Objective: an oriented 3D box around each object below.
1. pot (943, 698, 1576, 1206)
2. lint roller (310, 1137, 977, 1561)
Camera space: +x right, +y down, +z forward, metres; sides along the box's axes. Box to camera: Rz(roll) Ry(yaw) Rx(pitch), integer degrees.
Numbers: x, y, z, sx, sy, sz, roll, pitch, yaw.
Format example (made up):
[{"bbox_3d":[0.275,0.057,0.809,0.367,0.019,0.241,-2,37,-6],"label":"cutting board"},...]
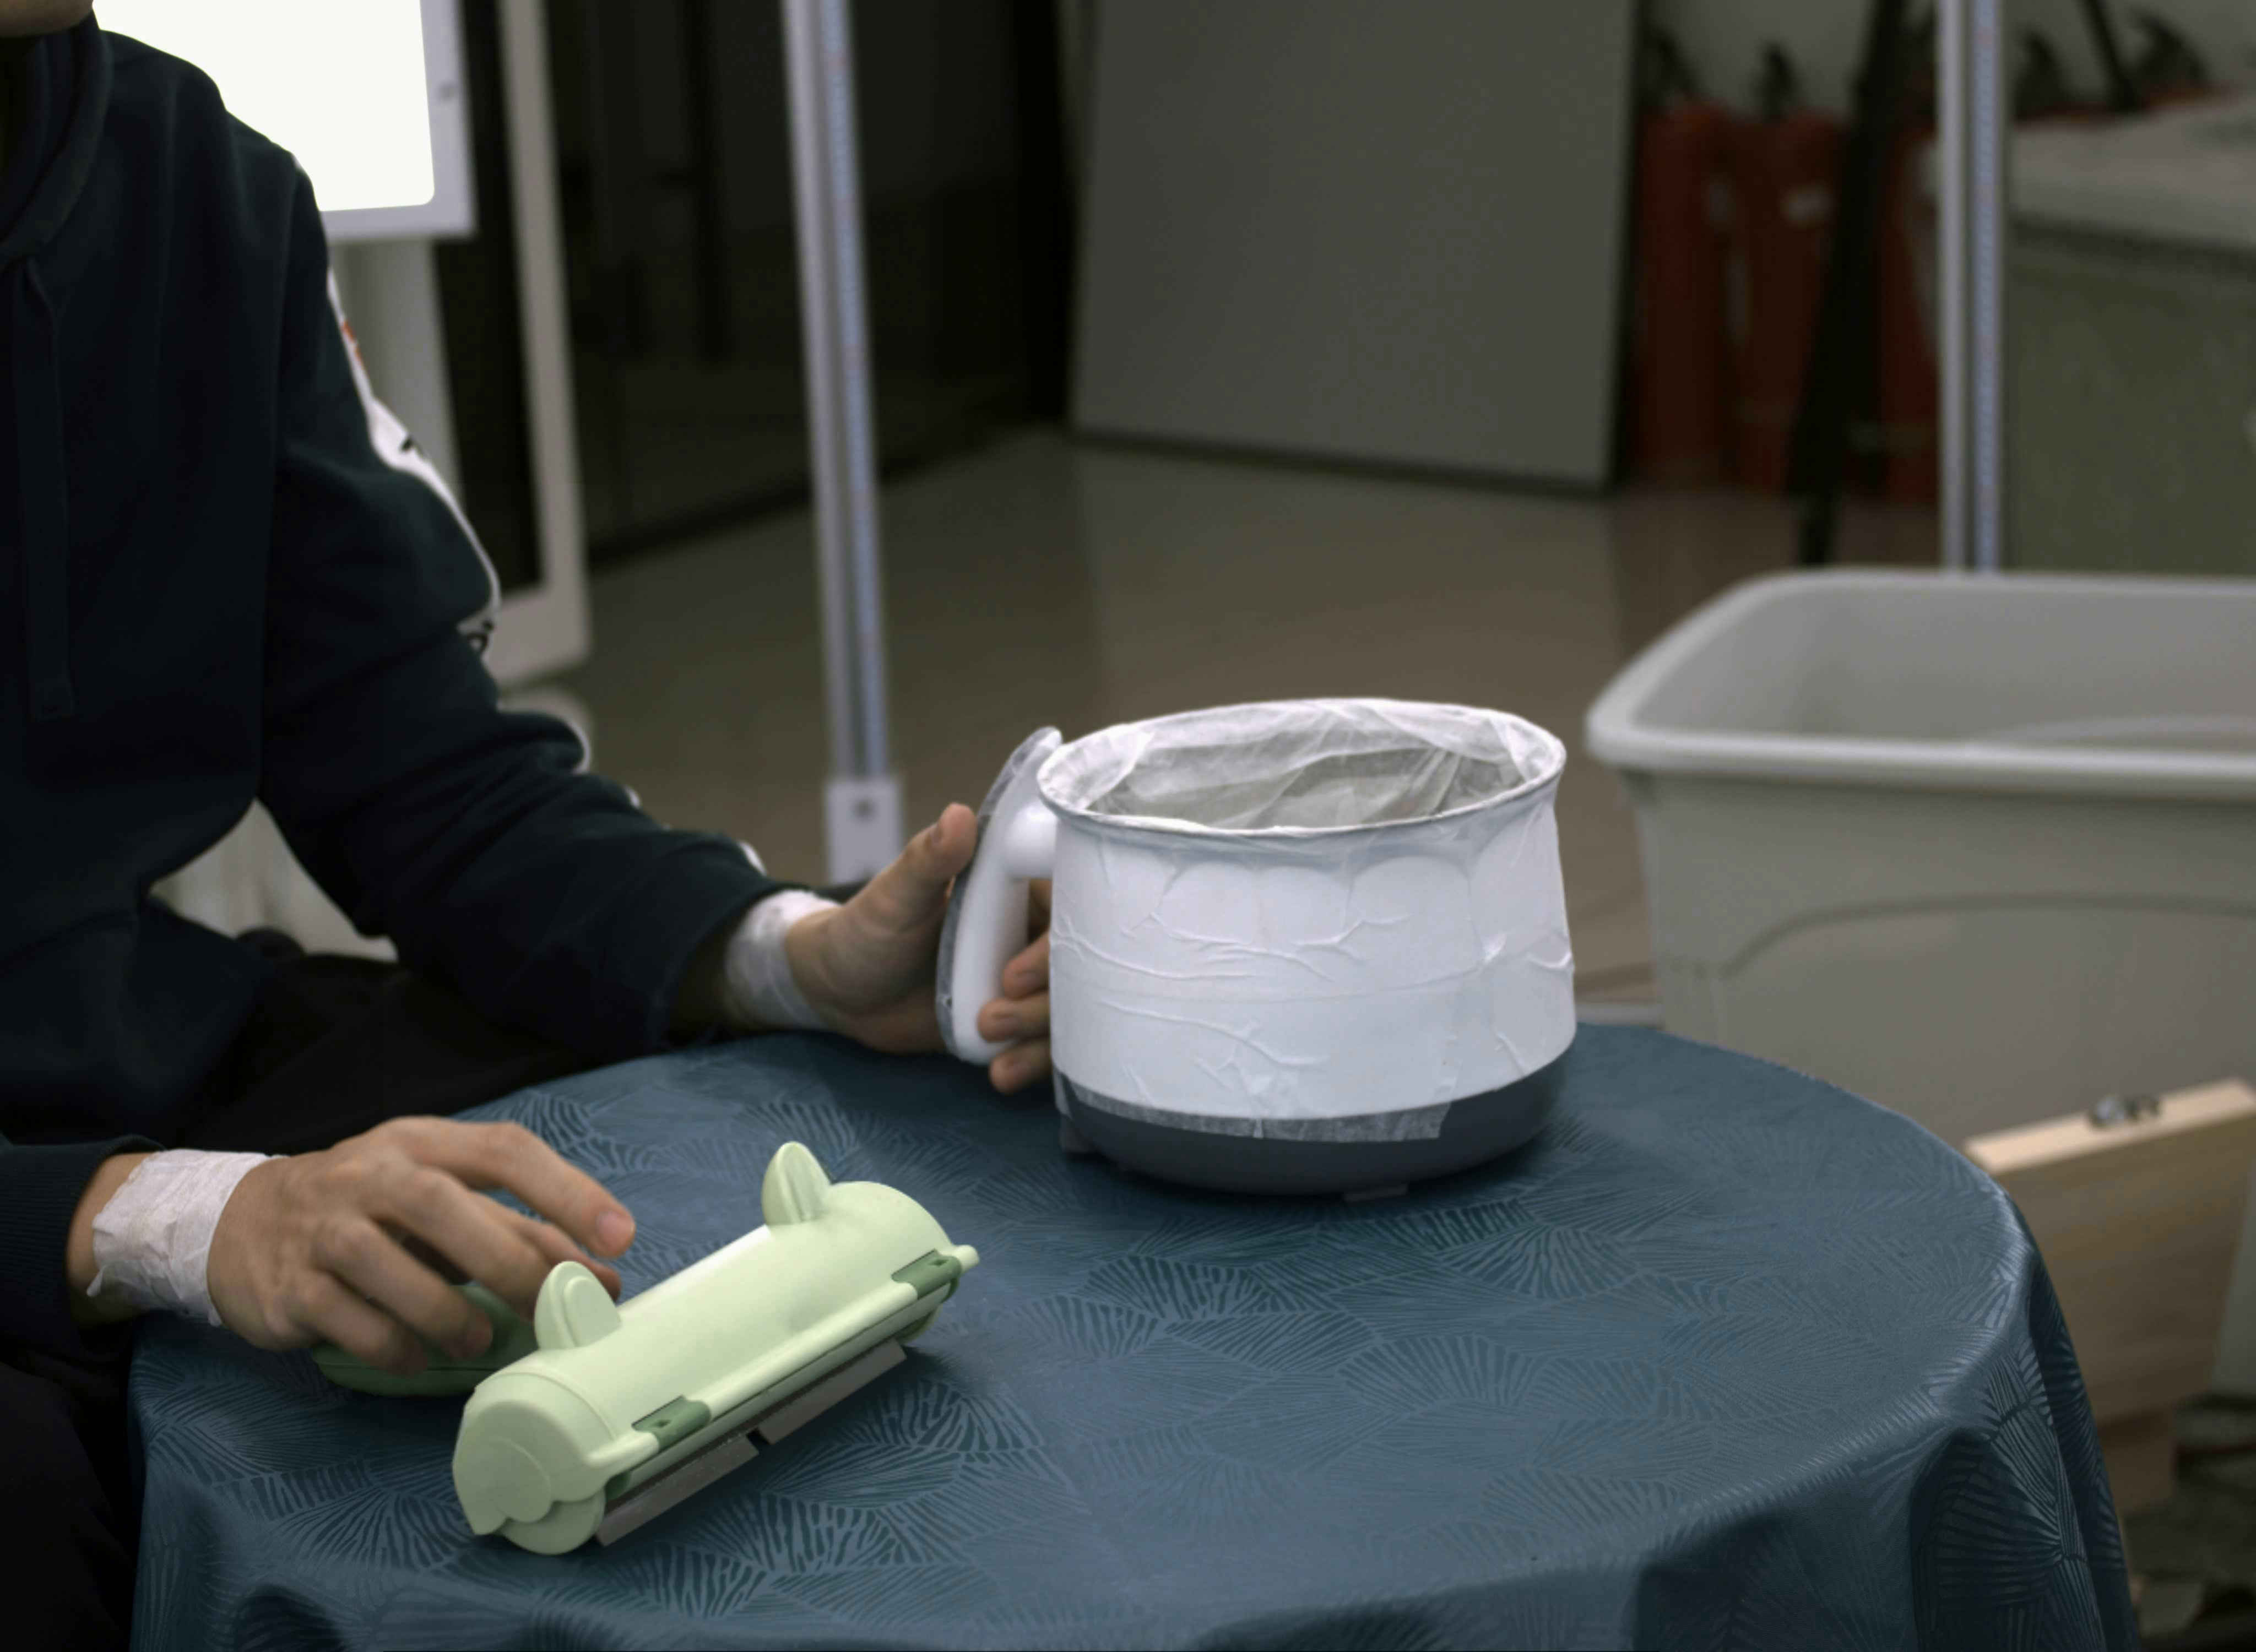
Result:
[{"bbox_3d":[0.038,0.038,1.809,0.235,0.138,0.176,5,16,31],"label":"pot"},{"bbox_3d":[-0.167,0.140,1.588,0.184,0.083,0.195,10,19,30],"label":"lint roller"}]
